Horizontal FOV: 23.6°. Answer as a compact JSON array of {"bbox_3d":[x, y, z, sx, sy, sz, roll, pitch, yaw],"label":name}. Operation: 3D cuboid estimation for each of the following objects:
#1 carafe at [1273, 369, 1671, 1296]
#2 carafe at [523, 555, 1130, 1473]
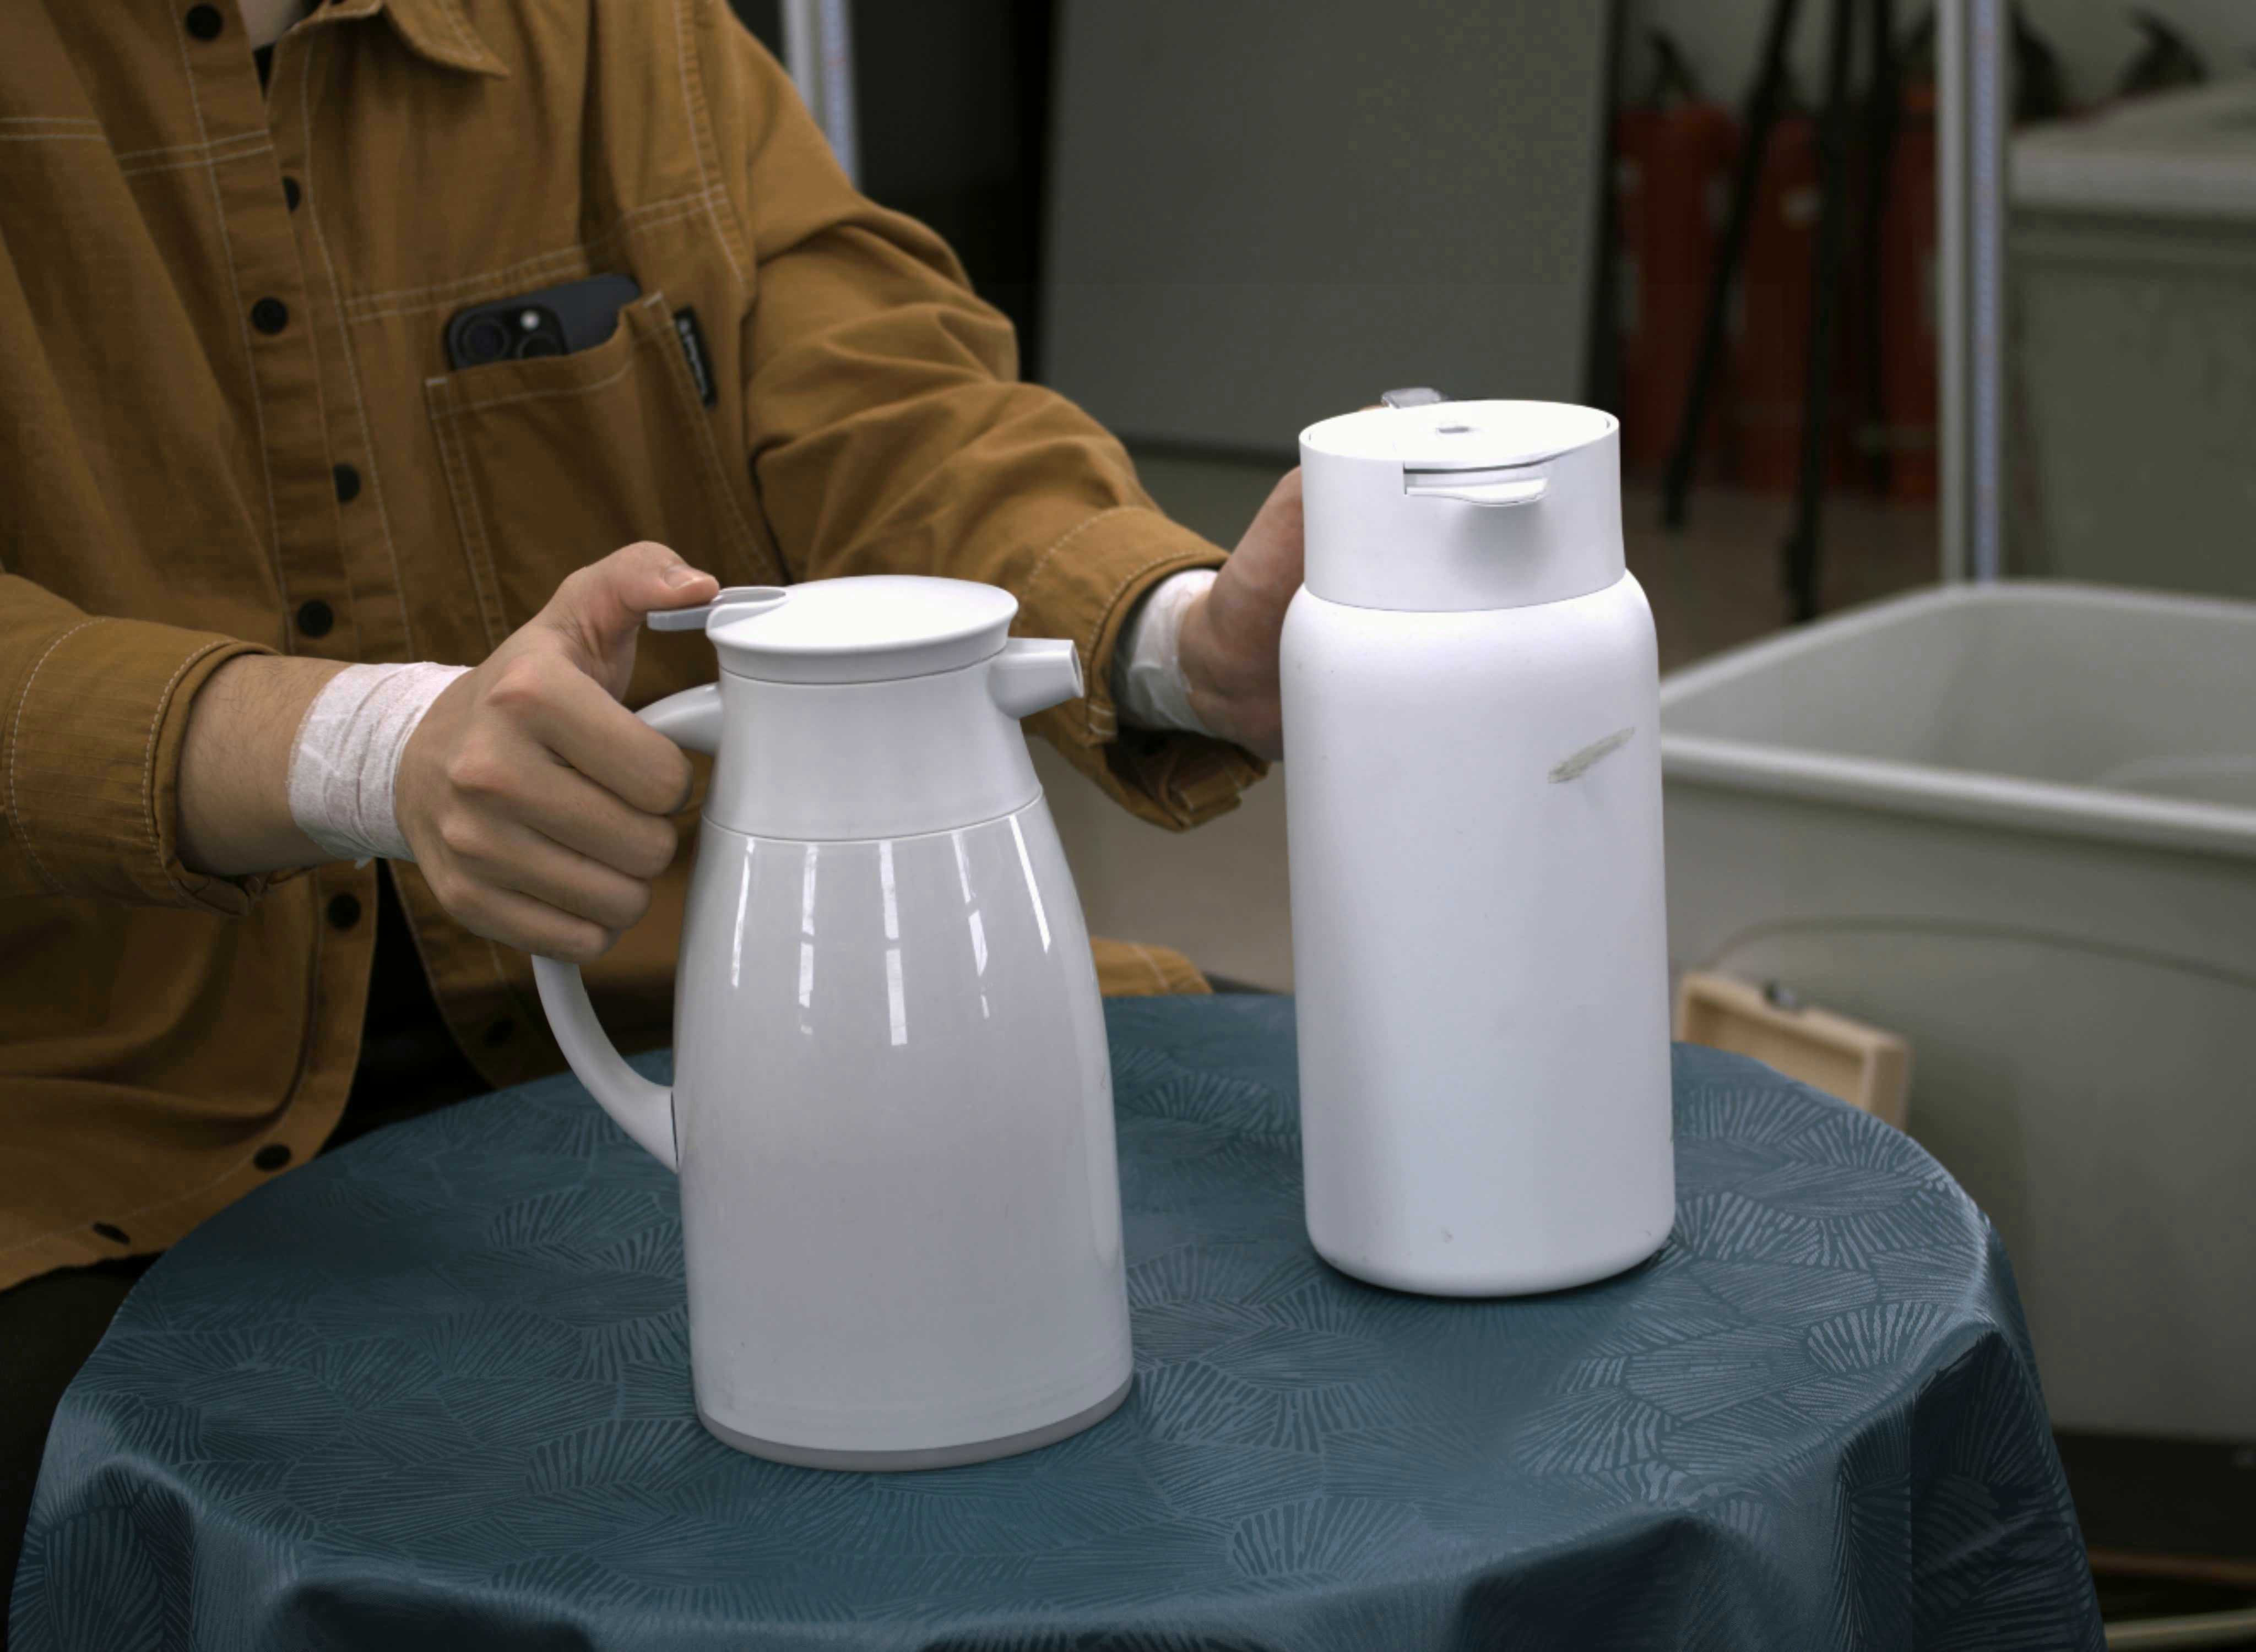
[{"bbox_3d":[0.101,-0.002,1.679,0.122,0.272,0.174,-8,14,-8],"label":"carafe"},{"bbox_3d":[-0.091,0.049,1.572,0.166,0.251,0.132,-4,13,4],"label":"carafe"}]
